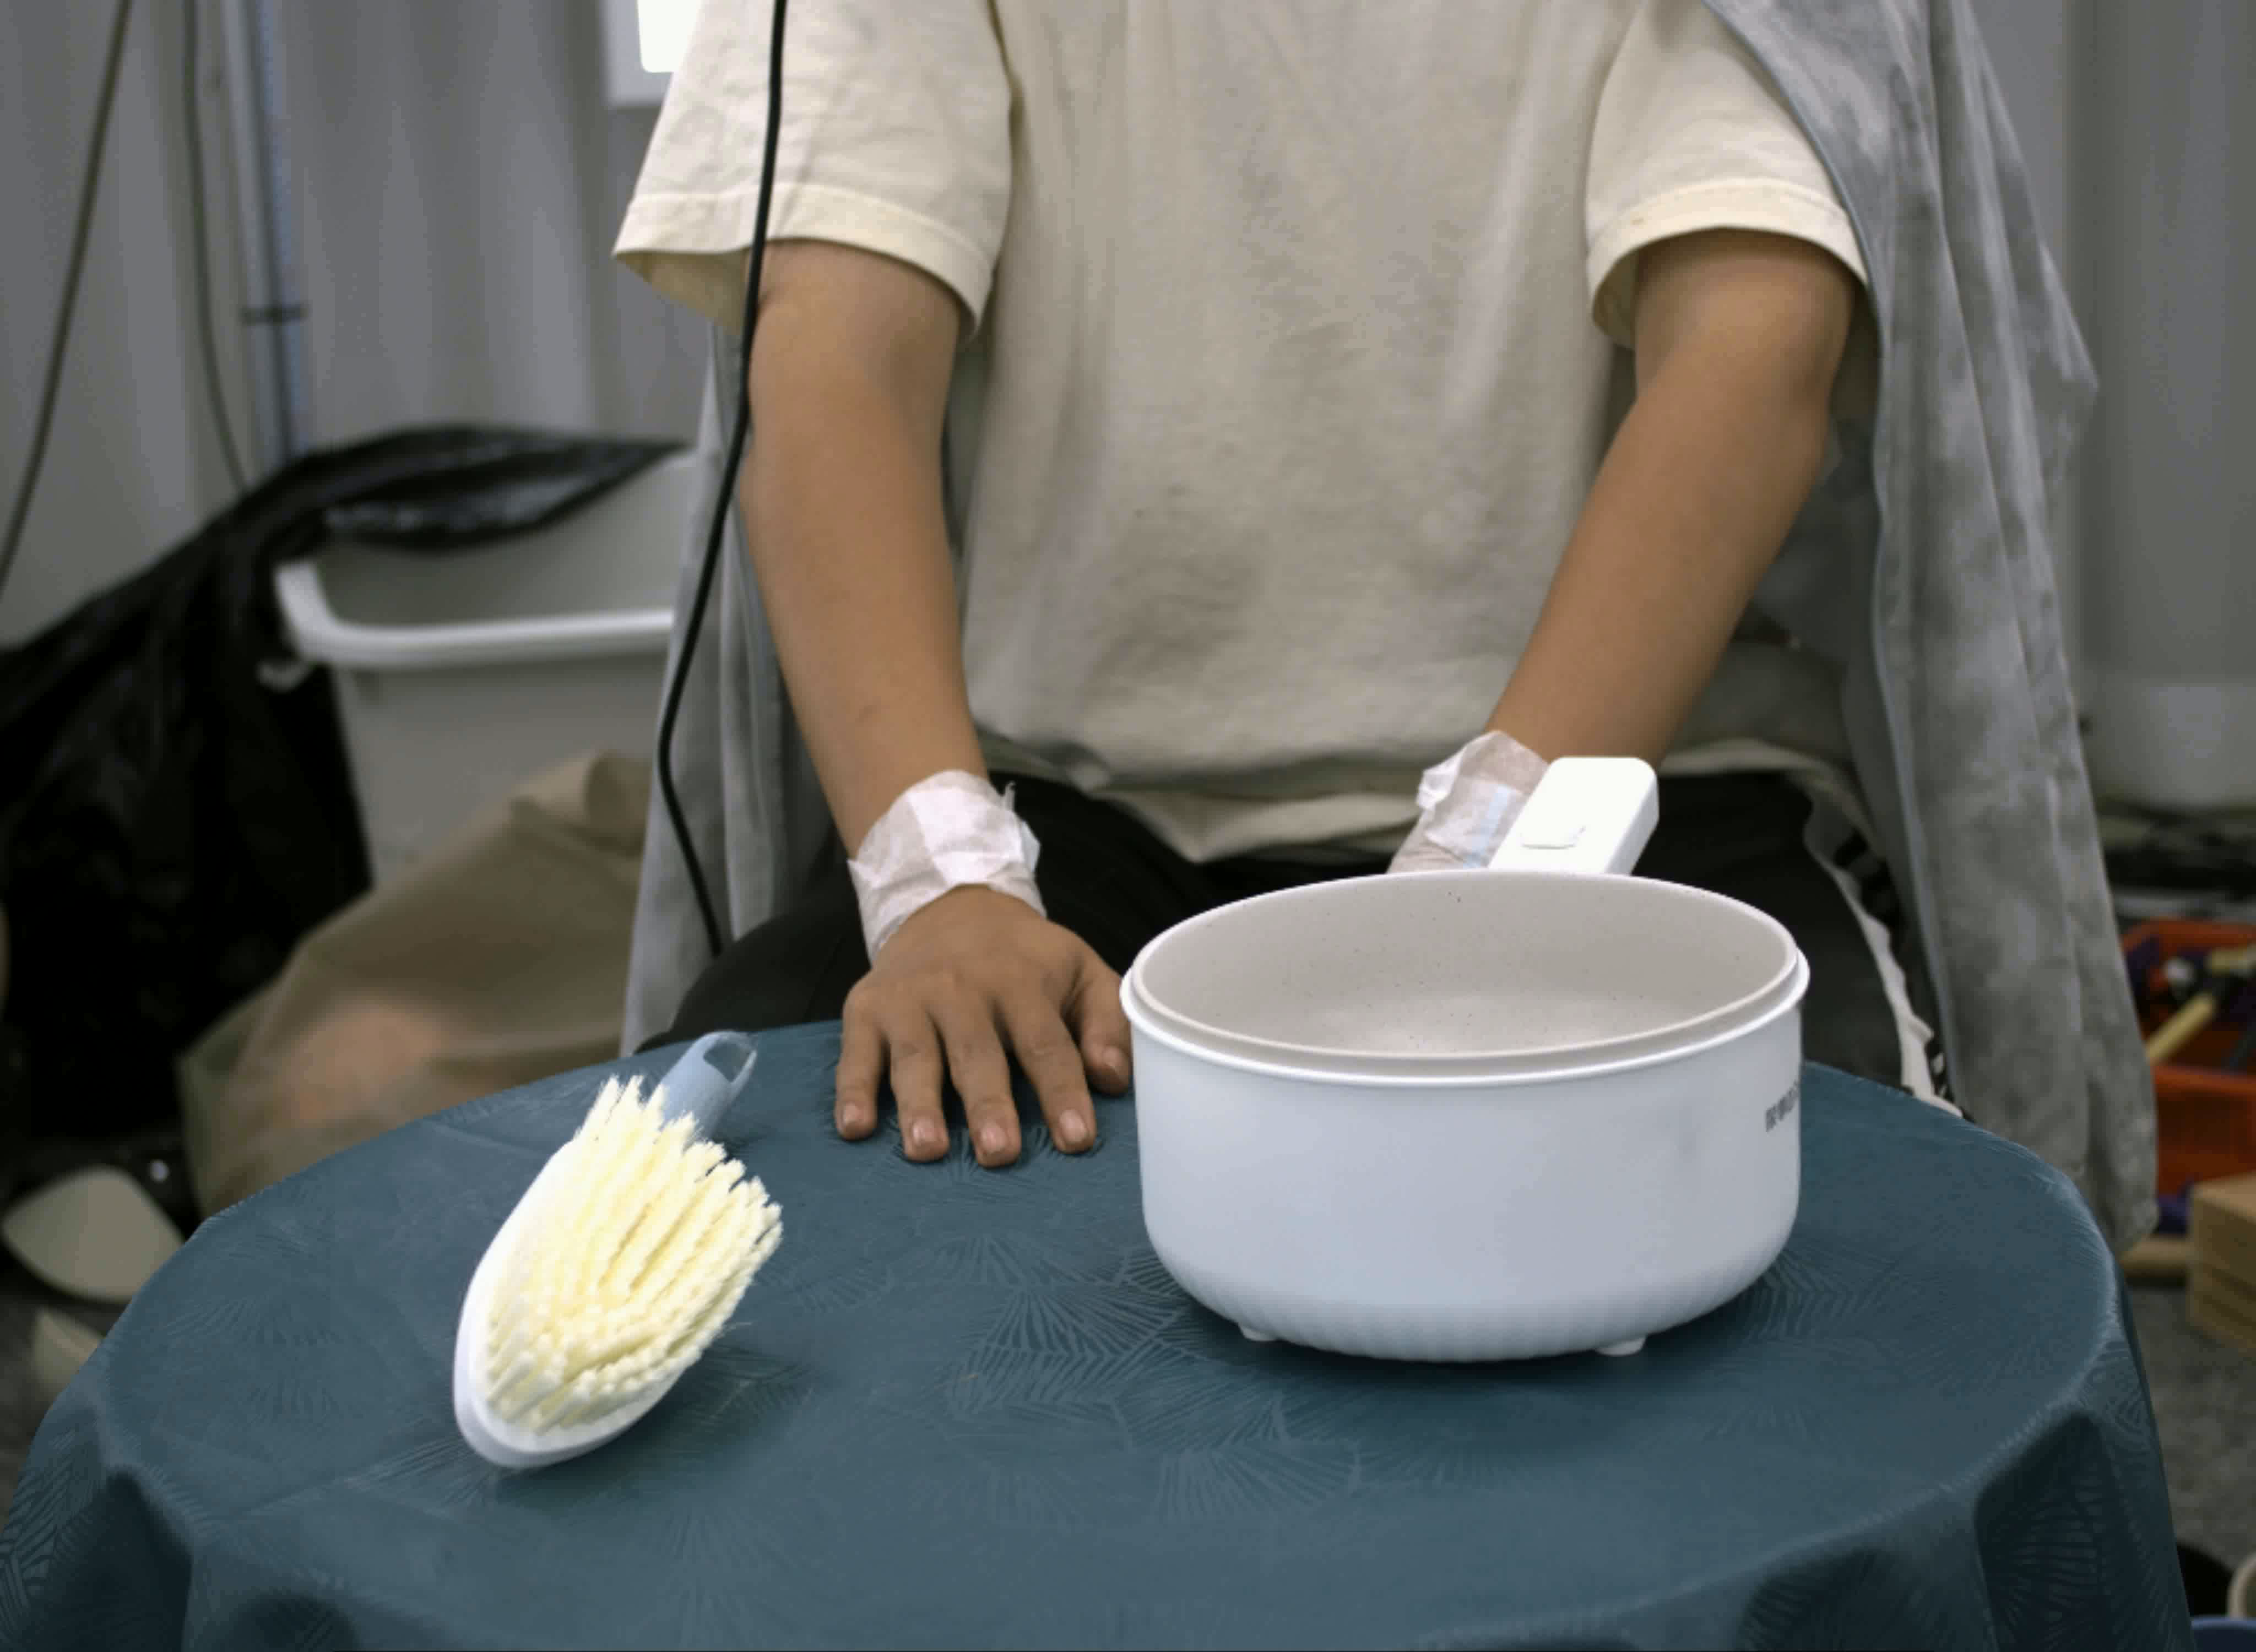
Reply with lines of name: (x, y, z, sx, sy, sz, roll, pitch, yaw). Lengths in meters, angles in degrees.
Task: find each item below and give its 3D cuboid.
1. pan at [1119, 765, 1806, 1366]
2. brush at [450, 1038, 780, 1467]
pan: (0.117, 0.069, 1.682, 0.201, 0.102, 0.356, 0, 14, 14)
brush: (-0.136, 0.099, 1.645, 0.084, 0.083, 0.327, -7, 15, 10)
